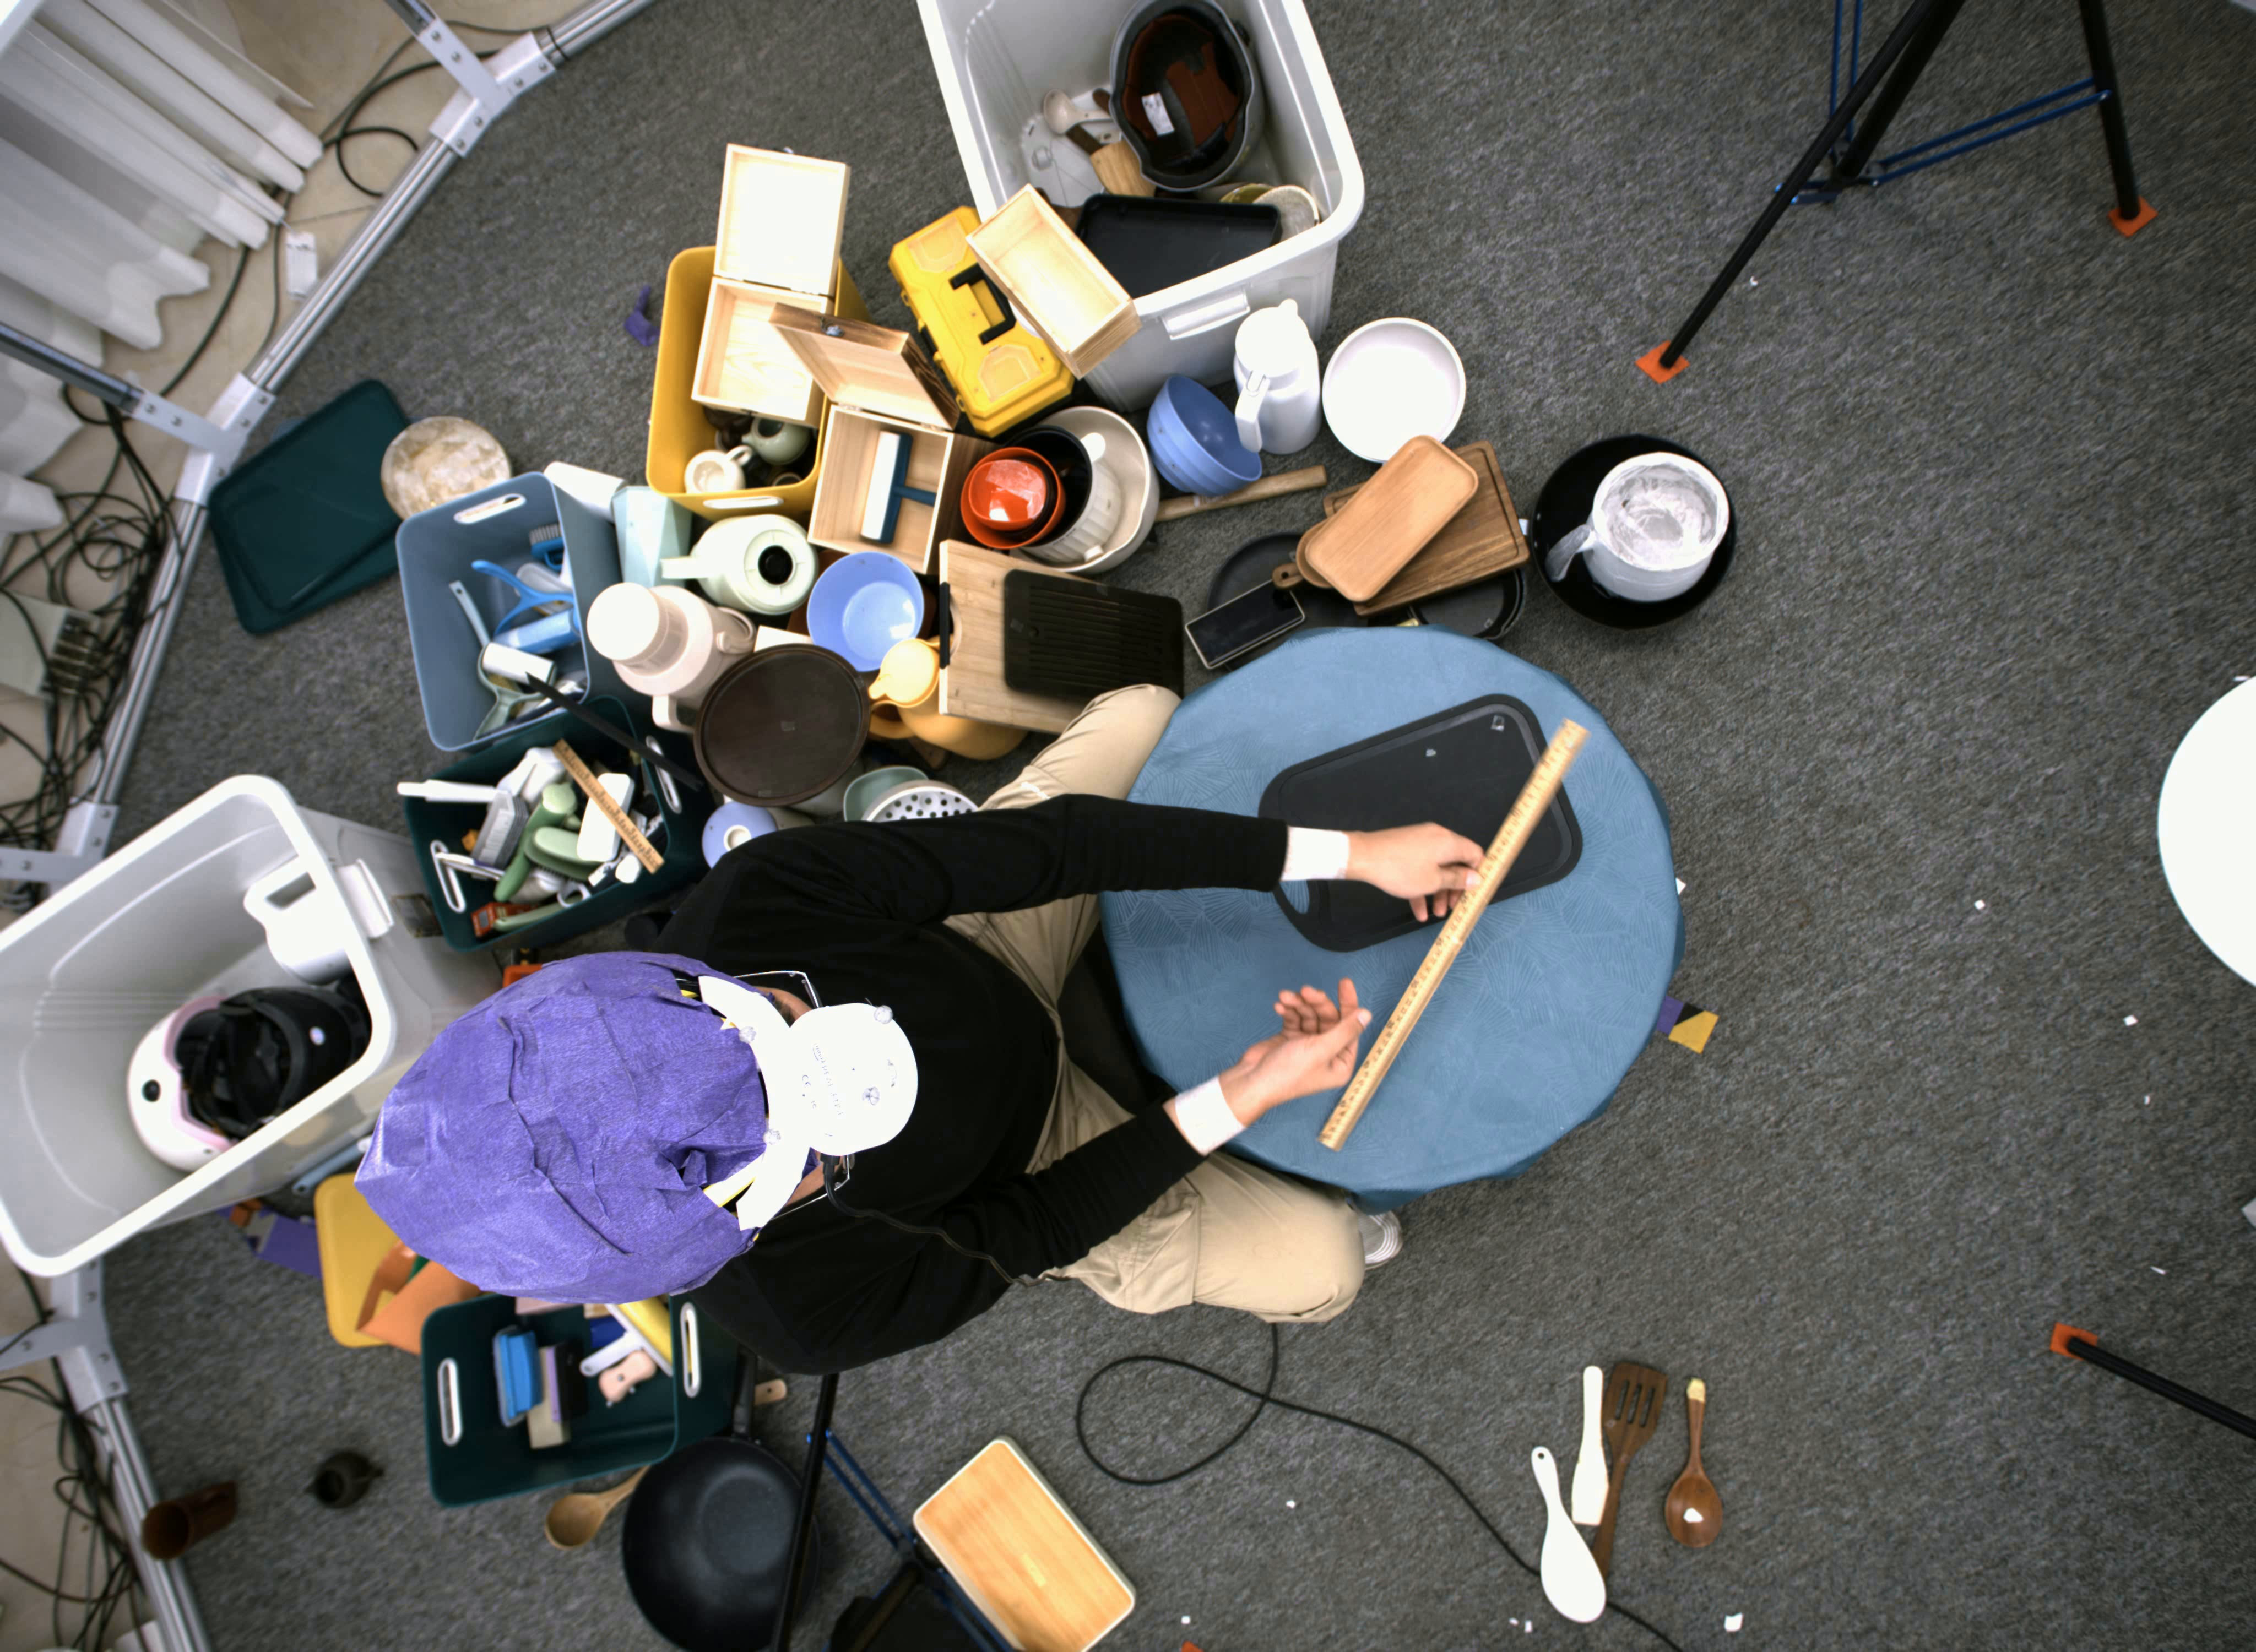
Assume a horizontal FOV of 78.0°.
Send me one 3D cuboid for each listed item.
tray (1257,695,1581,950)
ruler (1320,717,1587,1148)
[{"bbox_3d":[0.299,-0.001,1.455,0.327,0.010,0.210,-19,83,9],"label":"tray"},{"bbox_3d":[0.316,0.114,1.371,0.027,0.006,0.508,30,109,12],"label":"ruler"}]
